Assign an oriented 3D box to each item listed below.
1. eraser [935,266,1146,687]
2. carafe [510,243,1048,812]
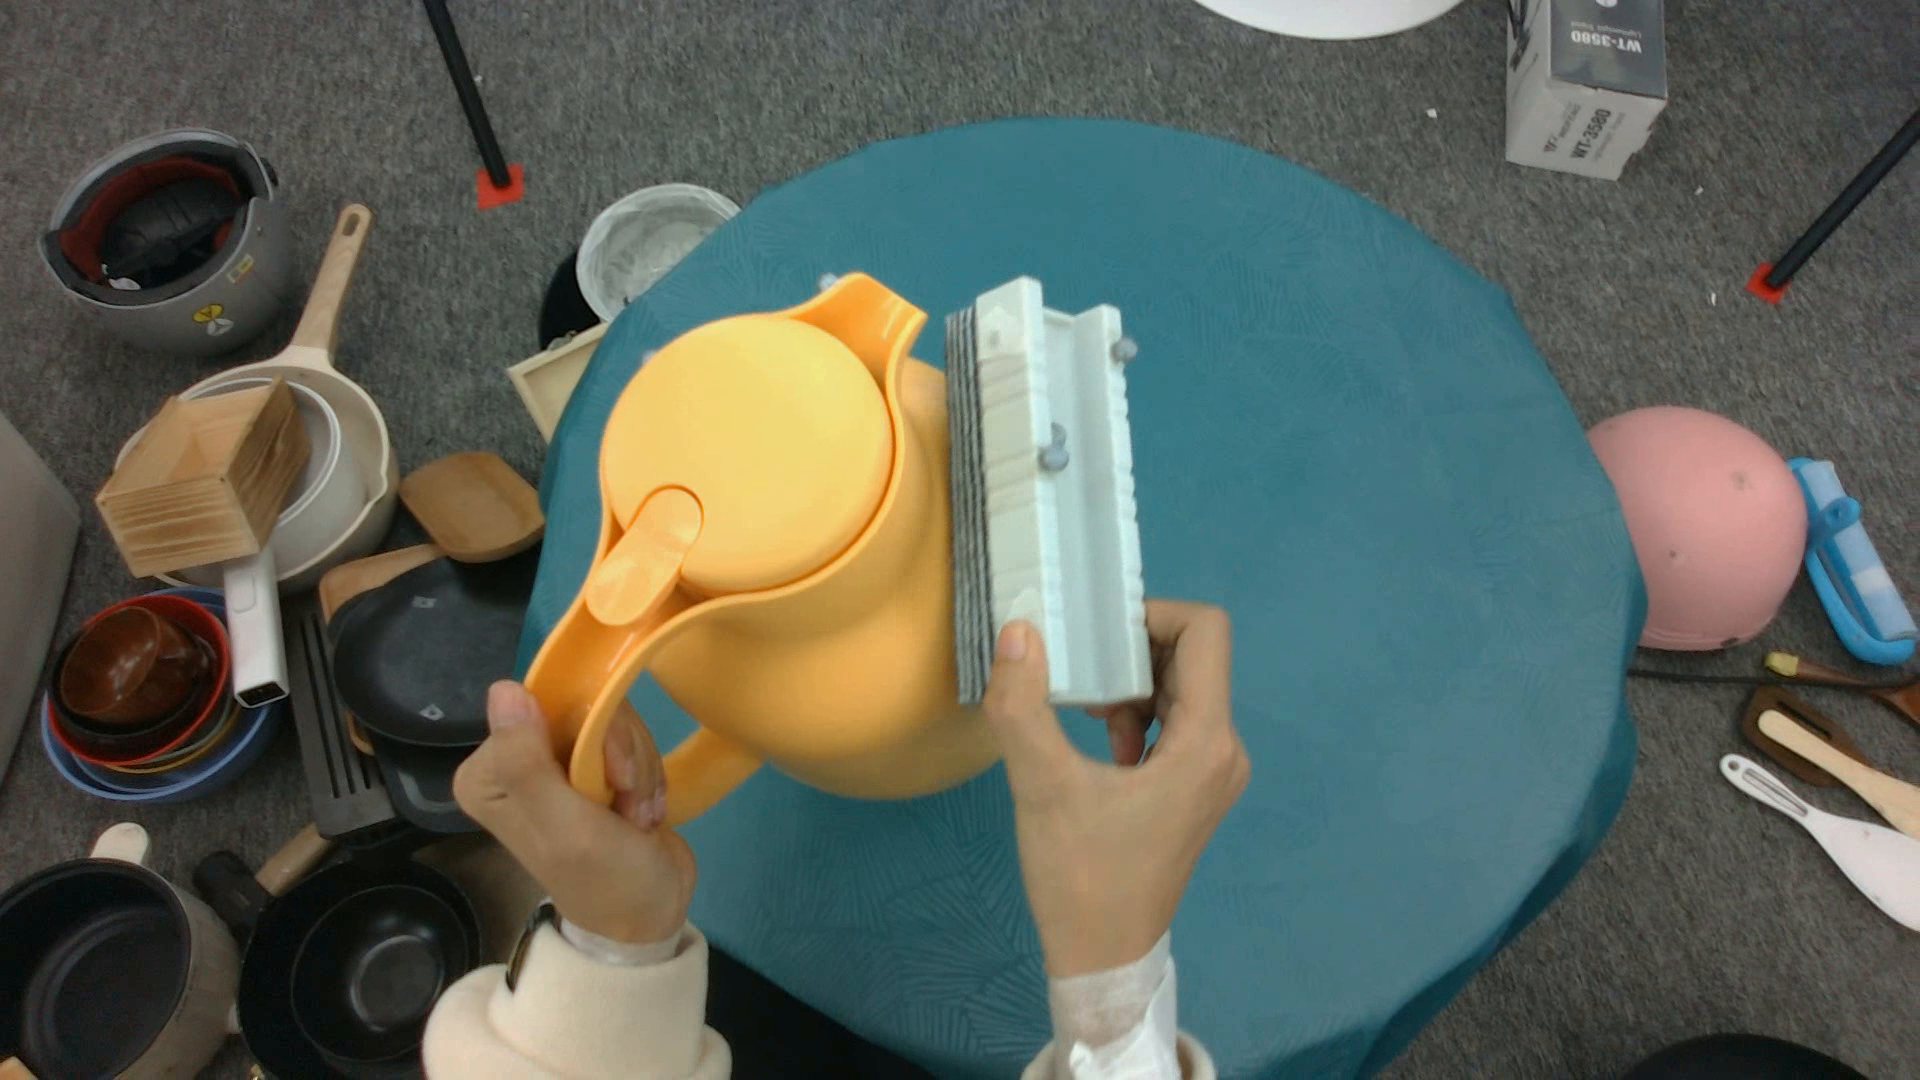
[{"bbox_3d":[0.025,-0.018,0.462,0.050,0.046,0.134,6,73,-47],"label":"eraser"},{"bbox_3d":[-0.063,0.016,0.524,0.163,0.260,0.203,36,79,20],"label":"carafe"}]
